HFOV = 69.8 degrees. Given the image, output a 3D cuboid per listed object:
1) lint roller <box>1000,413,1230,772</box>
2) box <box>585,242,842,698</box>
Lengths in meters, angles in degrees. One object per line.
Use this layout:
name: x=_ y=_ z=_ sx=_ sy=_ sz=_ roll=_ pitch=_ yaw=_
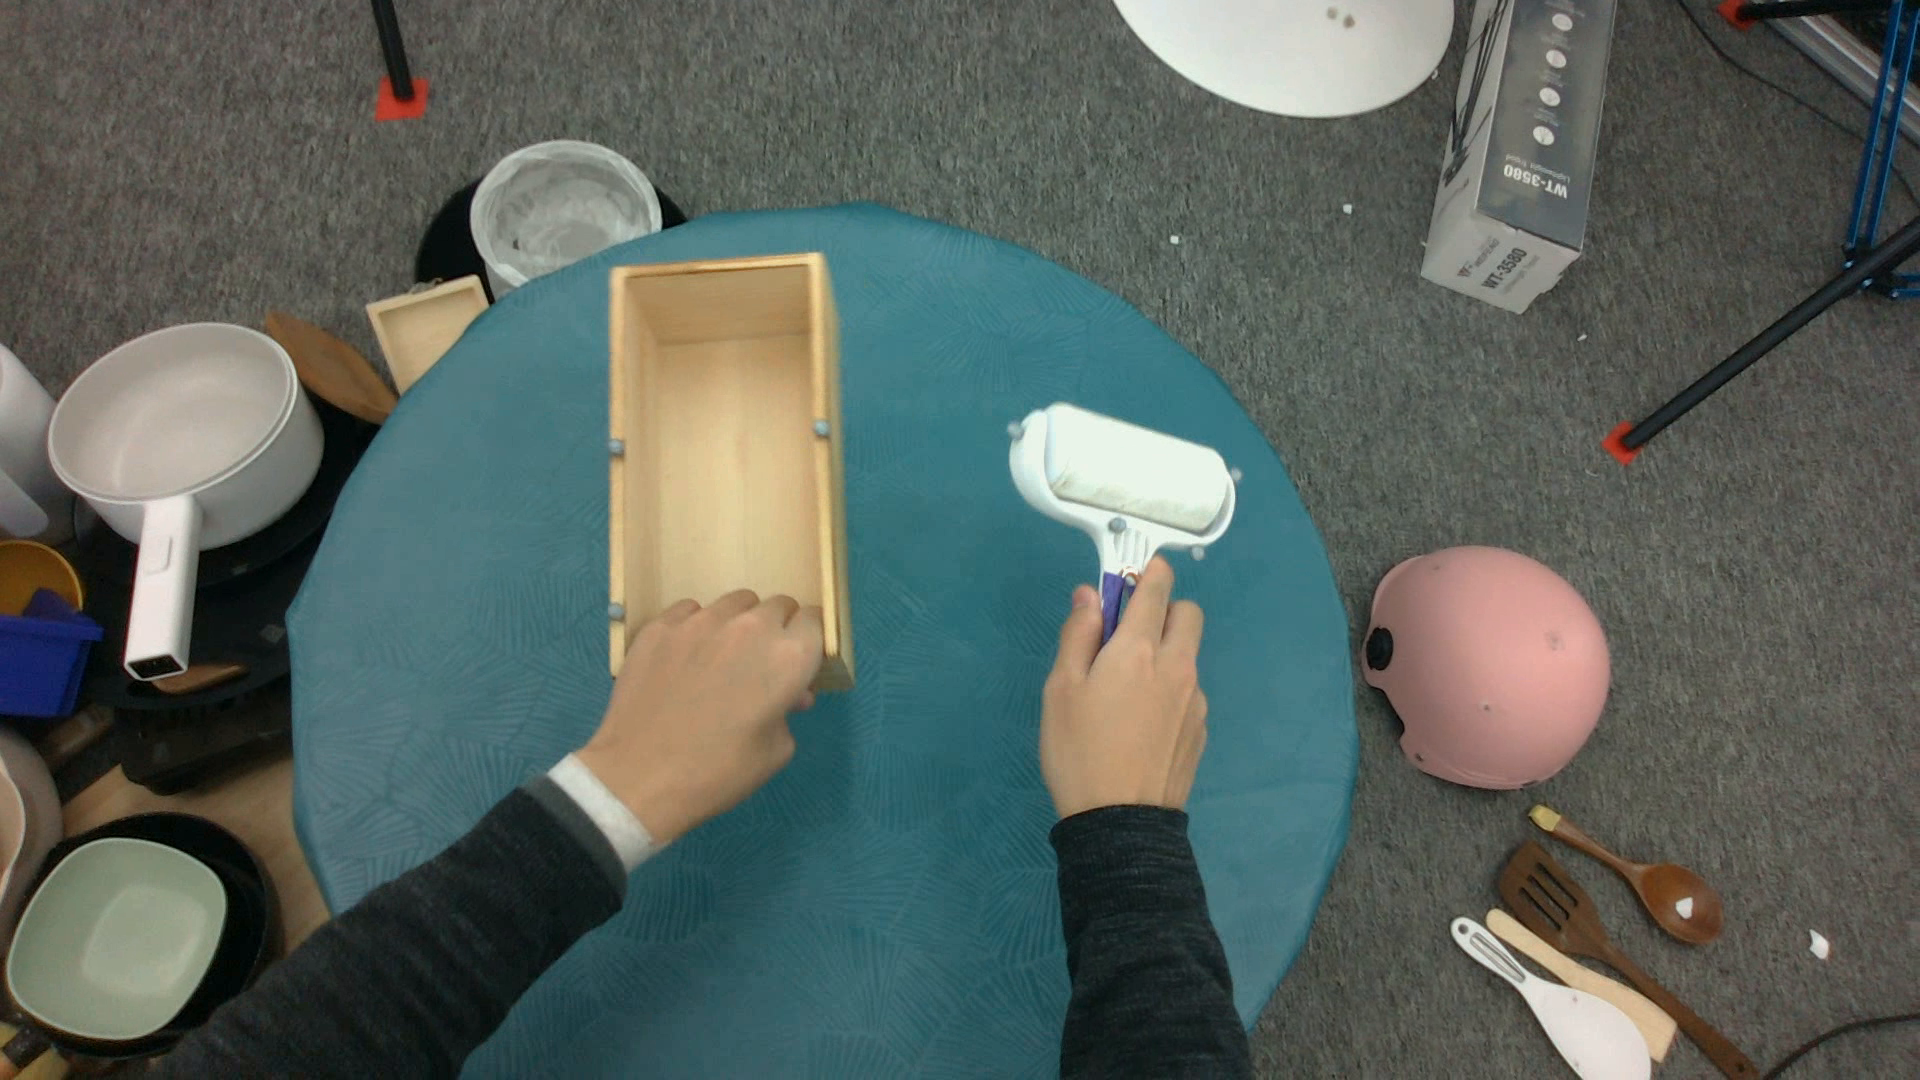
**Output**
lint roller: x=0.084 y=0.025 z=0.700 sx=0.133 sy=0.050 sz=0.181 roll=14 pitch=60 yaw=-26
box: x=-0.125 y=-0.036 z=0.703 sx=0.107 sy=0.080 sz=0.212 roll=-7 pitch=72 yaw=-4
